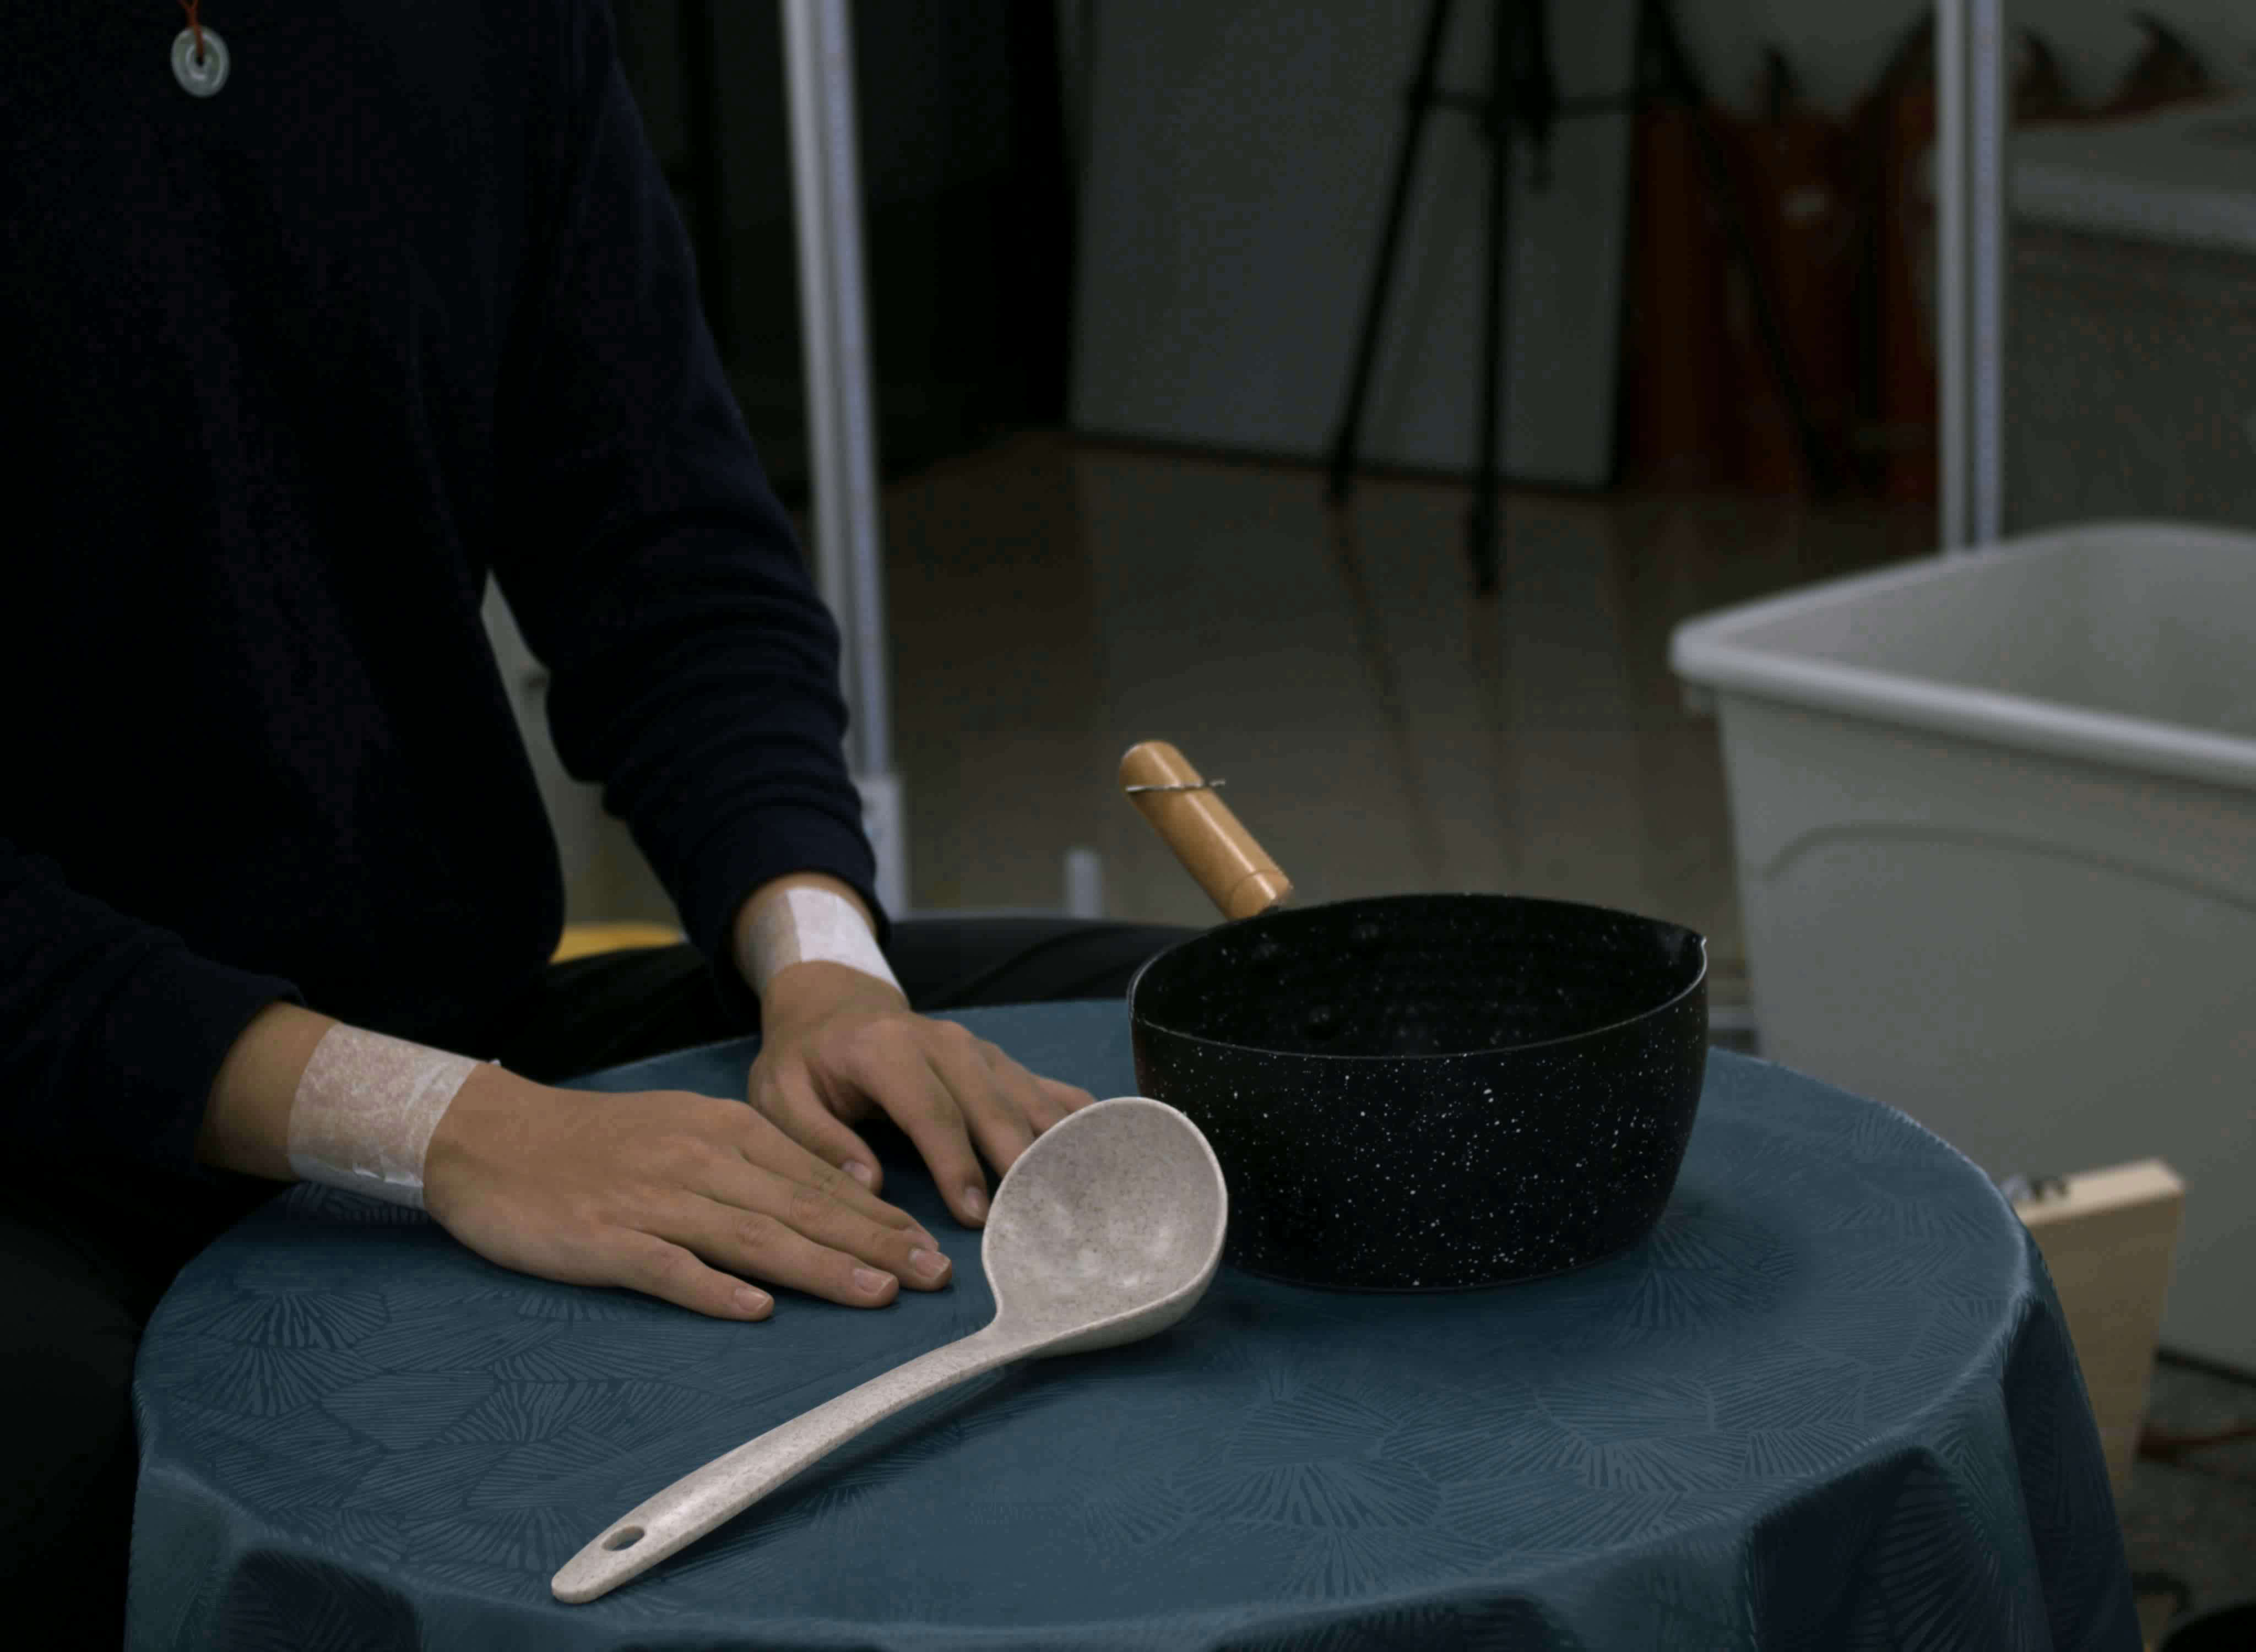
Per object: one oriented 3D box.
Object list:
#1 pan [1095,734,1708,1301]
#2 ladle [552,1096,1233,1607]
[{"bbox_3d":[0.065,0.058,1.782,0.203,0.109,0.346,-10,16,-18],"label":"pan"},{"bbox_3d":[-0.070,0.146,1.547,0.090,0.070,0.270,11,20,36],"label":"ladle"}]
